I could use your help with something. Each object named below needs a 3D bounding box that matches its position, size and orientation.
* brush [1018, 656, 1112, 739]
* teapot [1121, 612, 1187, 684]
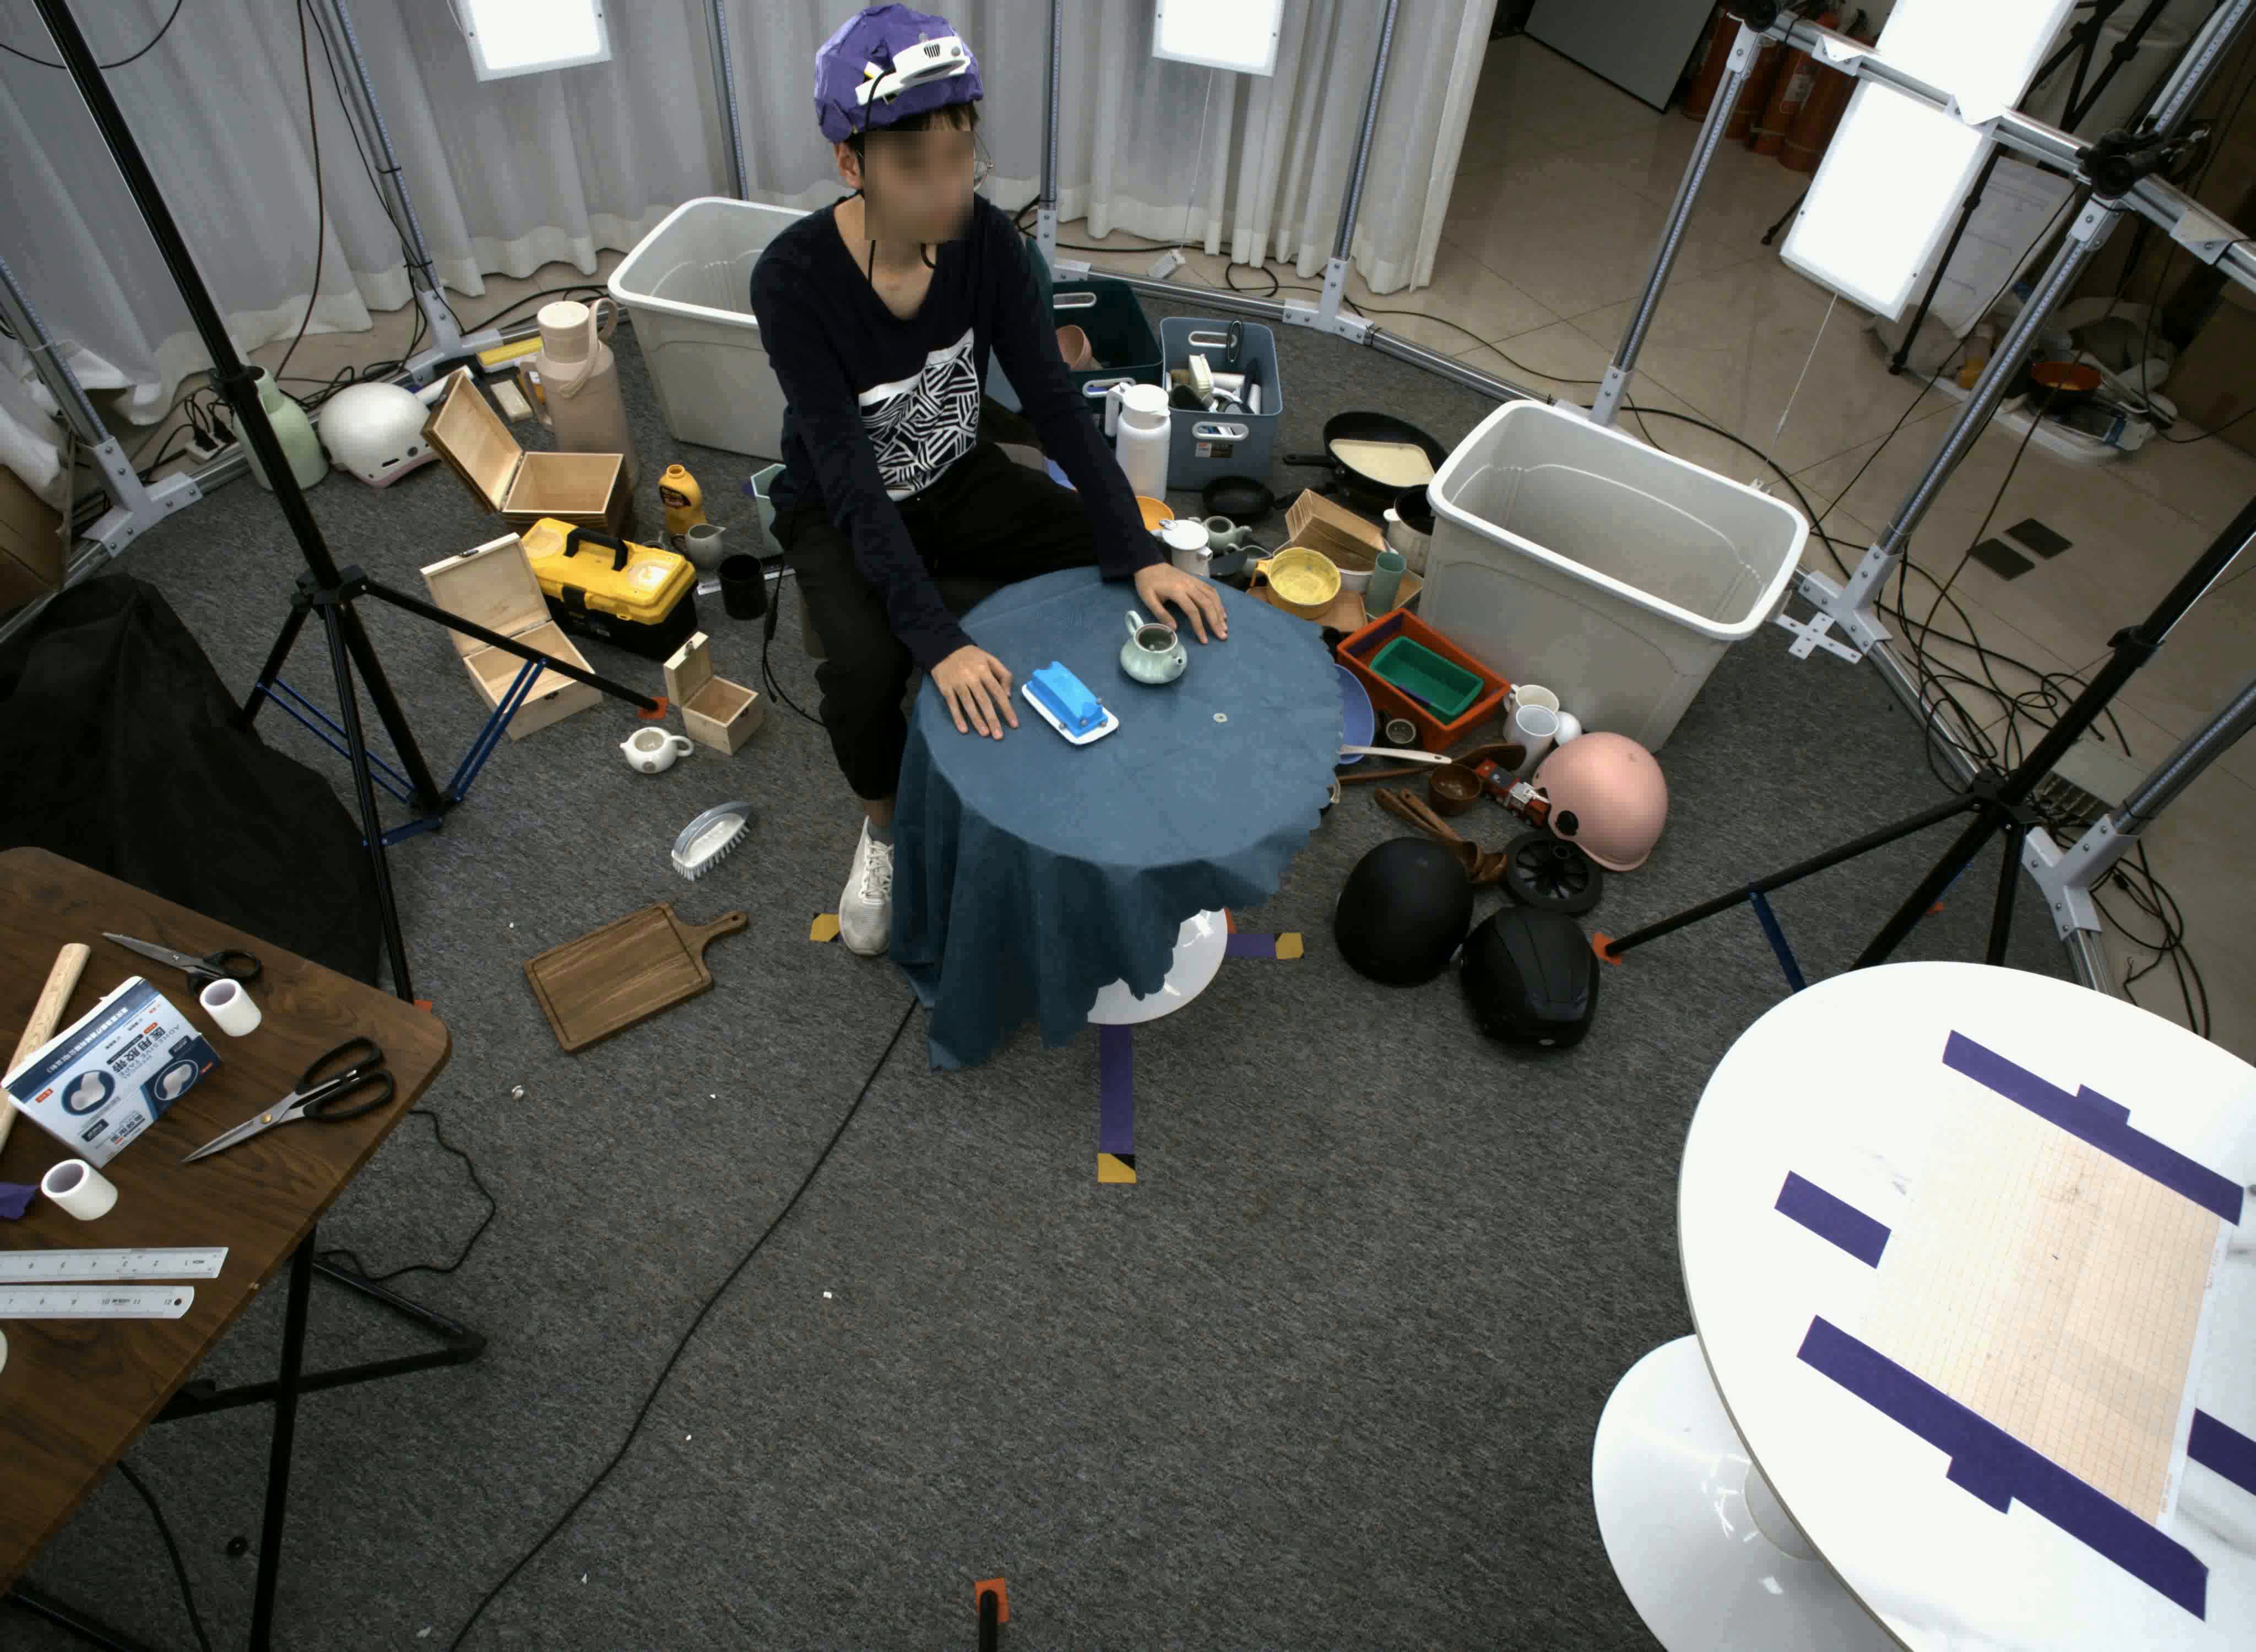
[{"bbox_3d":[-0.086,-0.185,1.783,0.084,0.054,0.146,-24,57,-27],"label":"brush"},{"bbox_3d":[0.036,-0.254,1.853,0.096,0.060,0.139,-28,57,-23],"label":"teapot"}]
